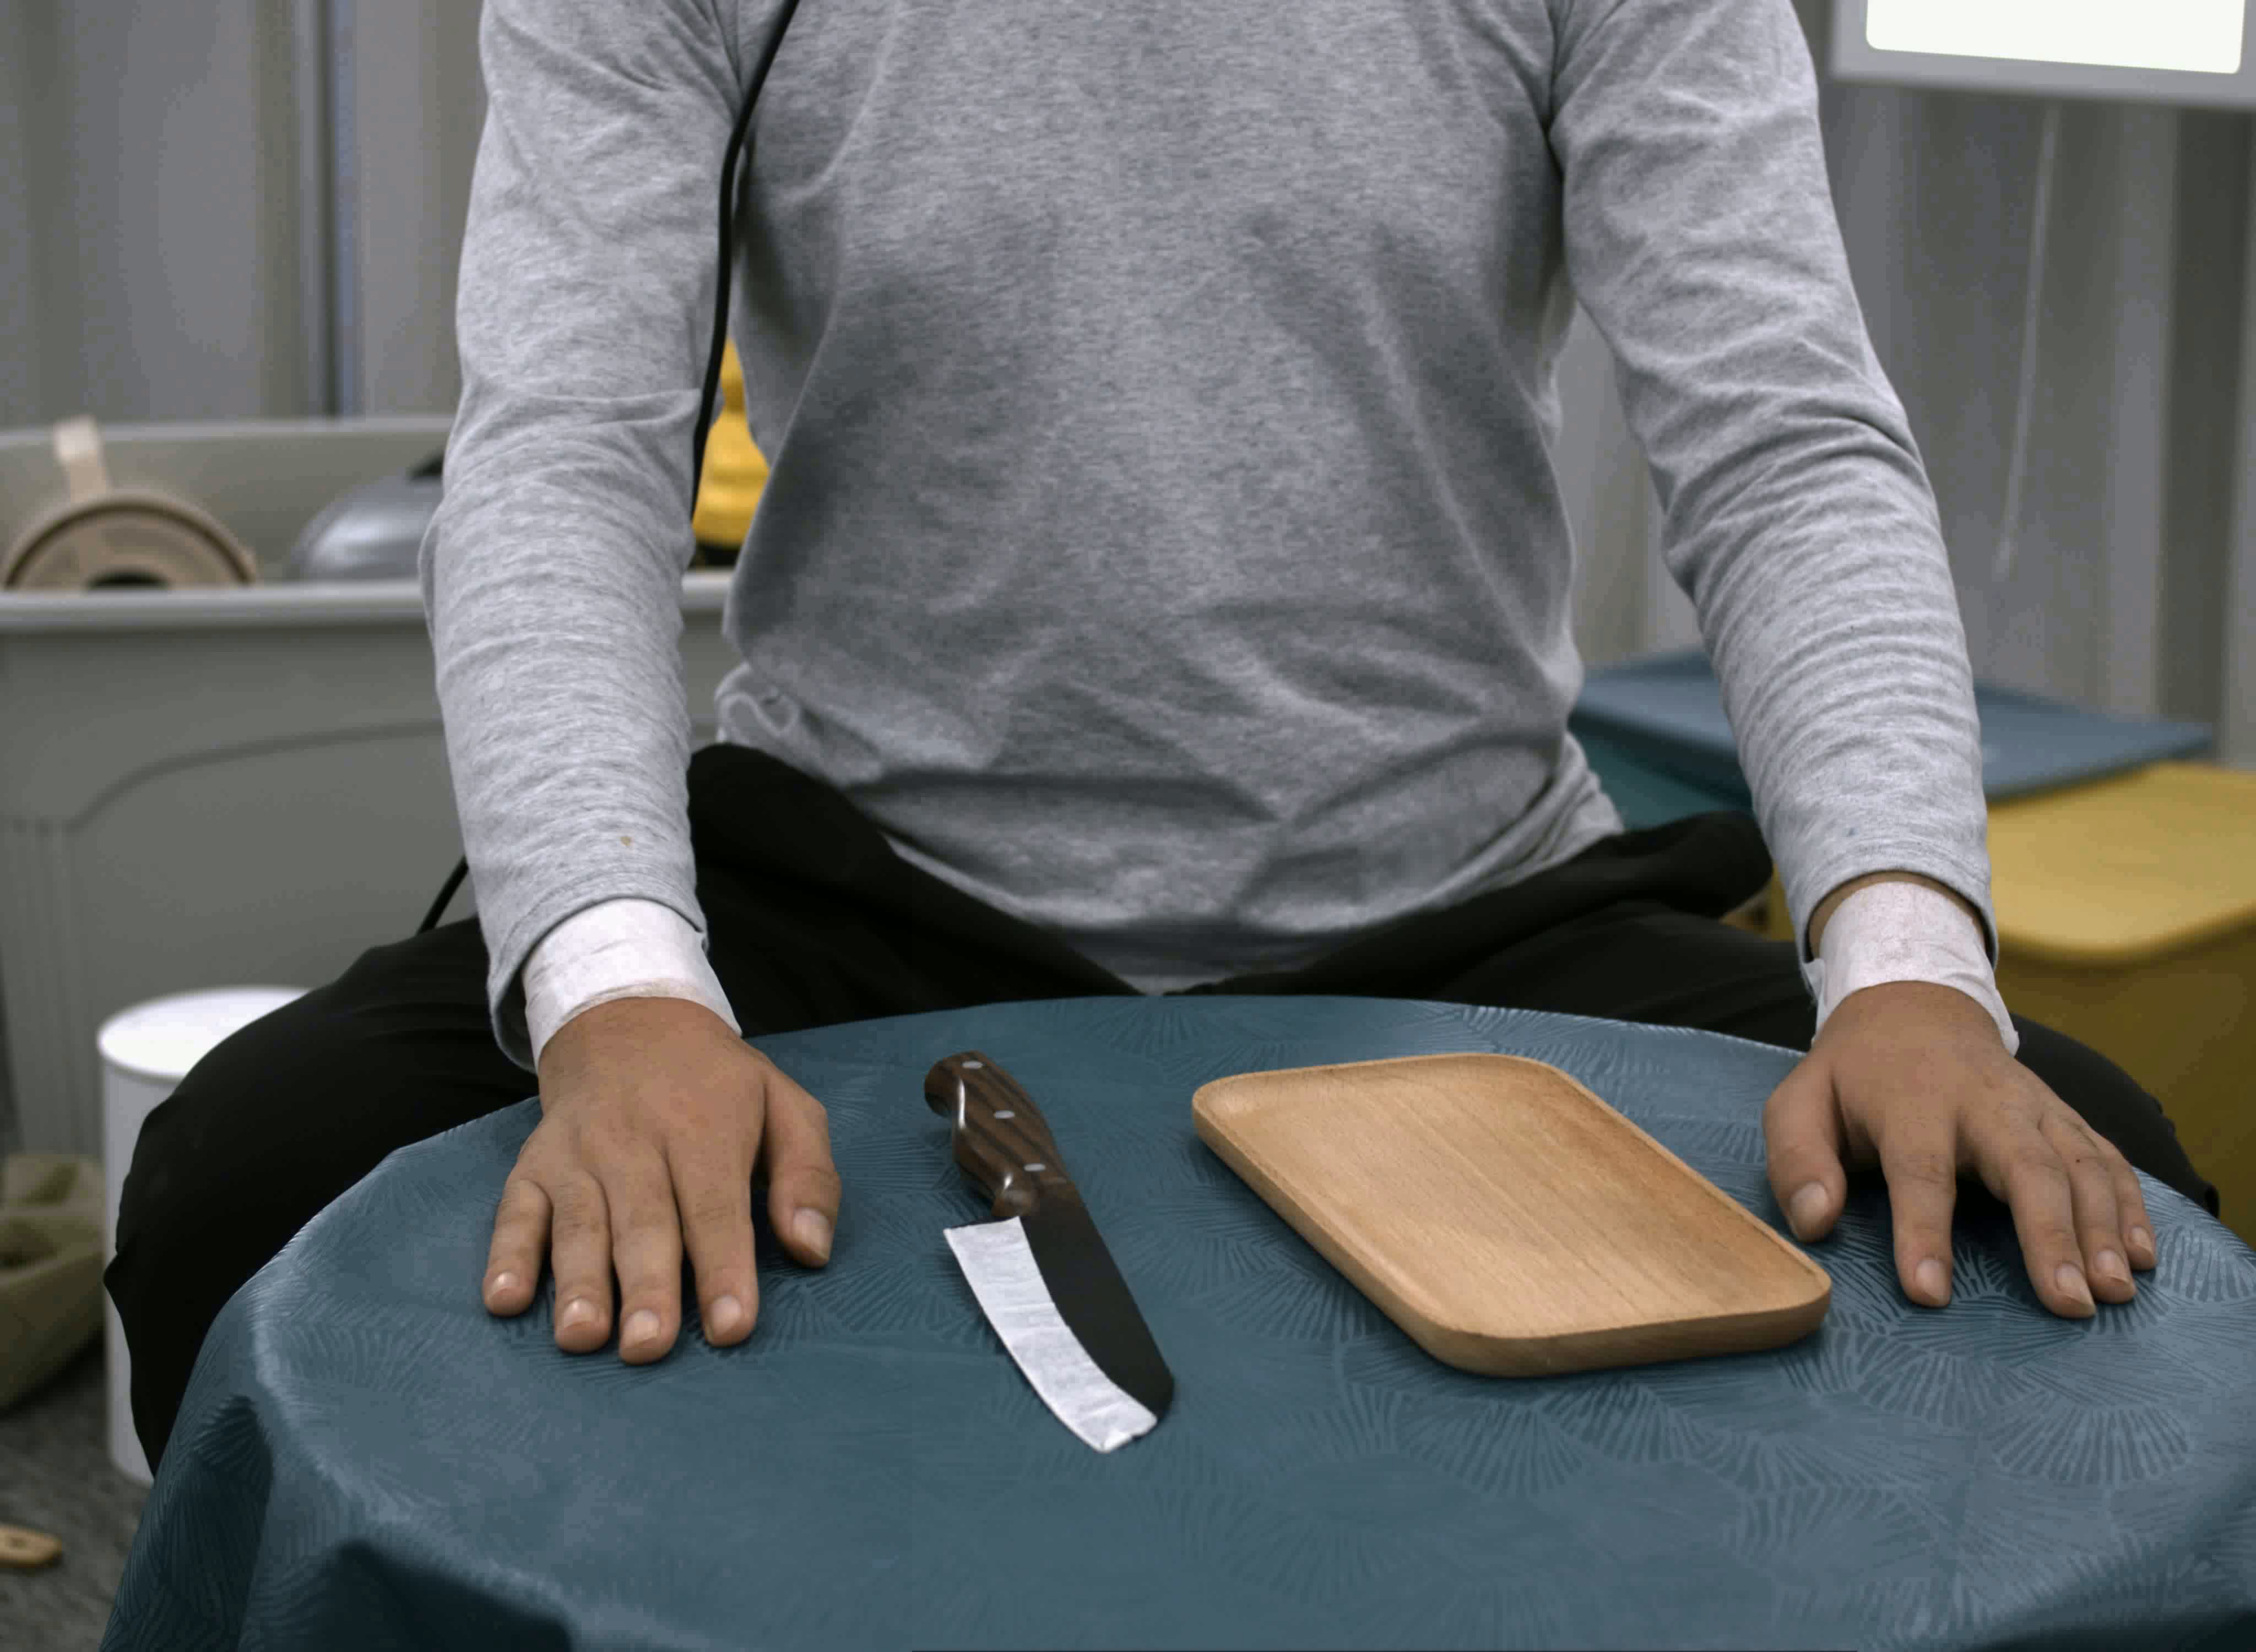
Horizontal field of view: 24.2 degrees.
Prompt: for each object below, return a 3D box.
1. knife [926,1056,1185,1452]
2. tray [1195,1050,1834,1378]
[{"bbox_3d":[-0.027,0.125,1.552,0.050,0.020,0.286,-7,19,-8],"label":"knife"},{"bbox_3d":[0.112,0.114,1.594,0.131,0.023,0.248,-2,15,-17],"label":"tray"}]
